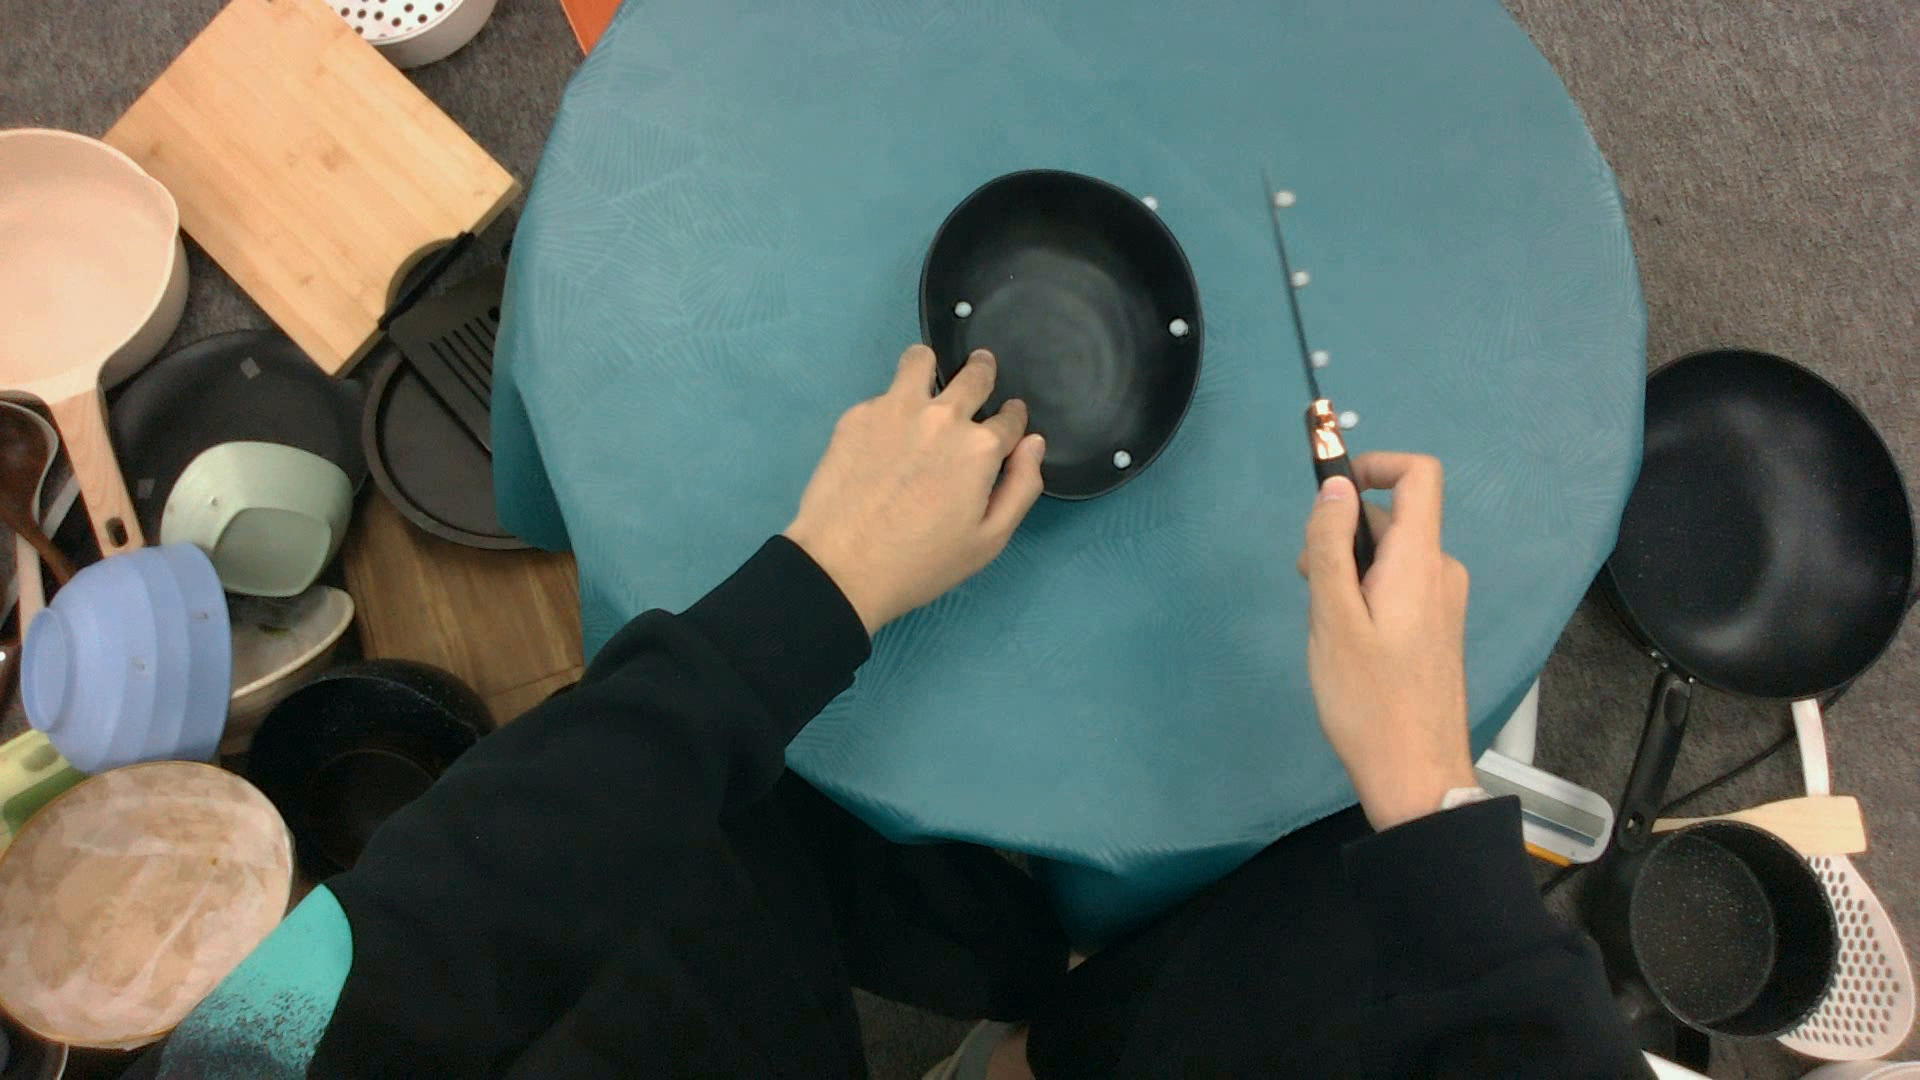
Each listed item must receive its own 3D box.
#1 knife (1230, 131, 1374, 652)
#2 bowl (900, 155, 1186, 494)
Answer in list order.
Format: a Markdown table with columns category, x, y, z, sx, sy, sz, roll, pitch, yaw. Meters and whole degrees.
| category | x | y | z | sx | sy | sz | roll | pitch | yaw |
| --- | --- | --- | --- | --- | --- | --- | --- | --- | --- |
| knife | 0.140 | -0.064 | 0.577 | 0.017 | 0.026 | 0.226 | -12 | 83 | -4 |
| bowl | 0.039 | -0.103 | 0.685 | 0.137 | 0.066 | 0.170 | -9 | 79 | -7 |
